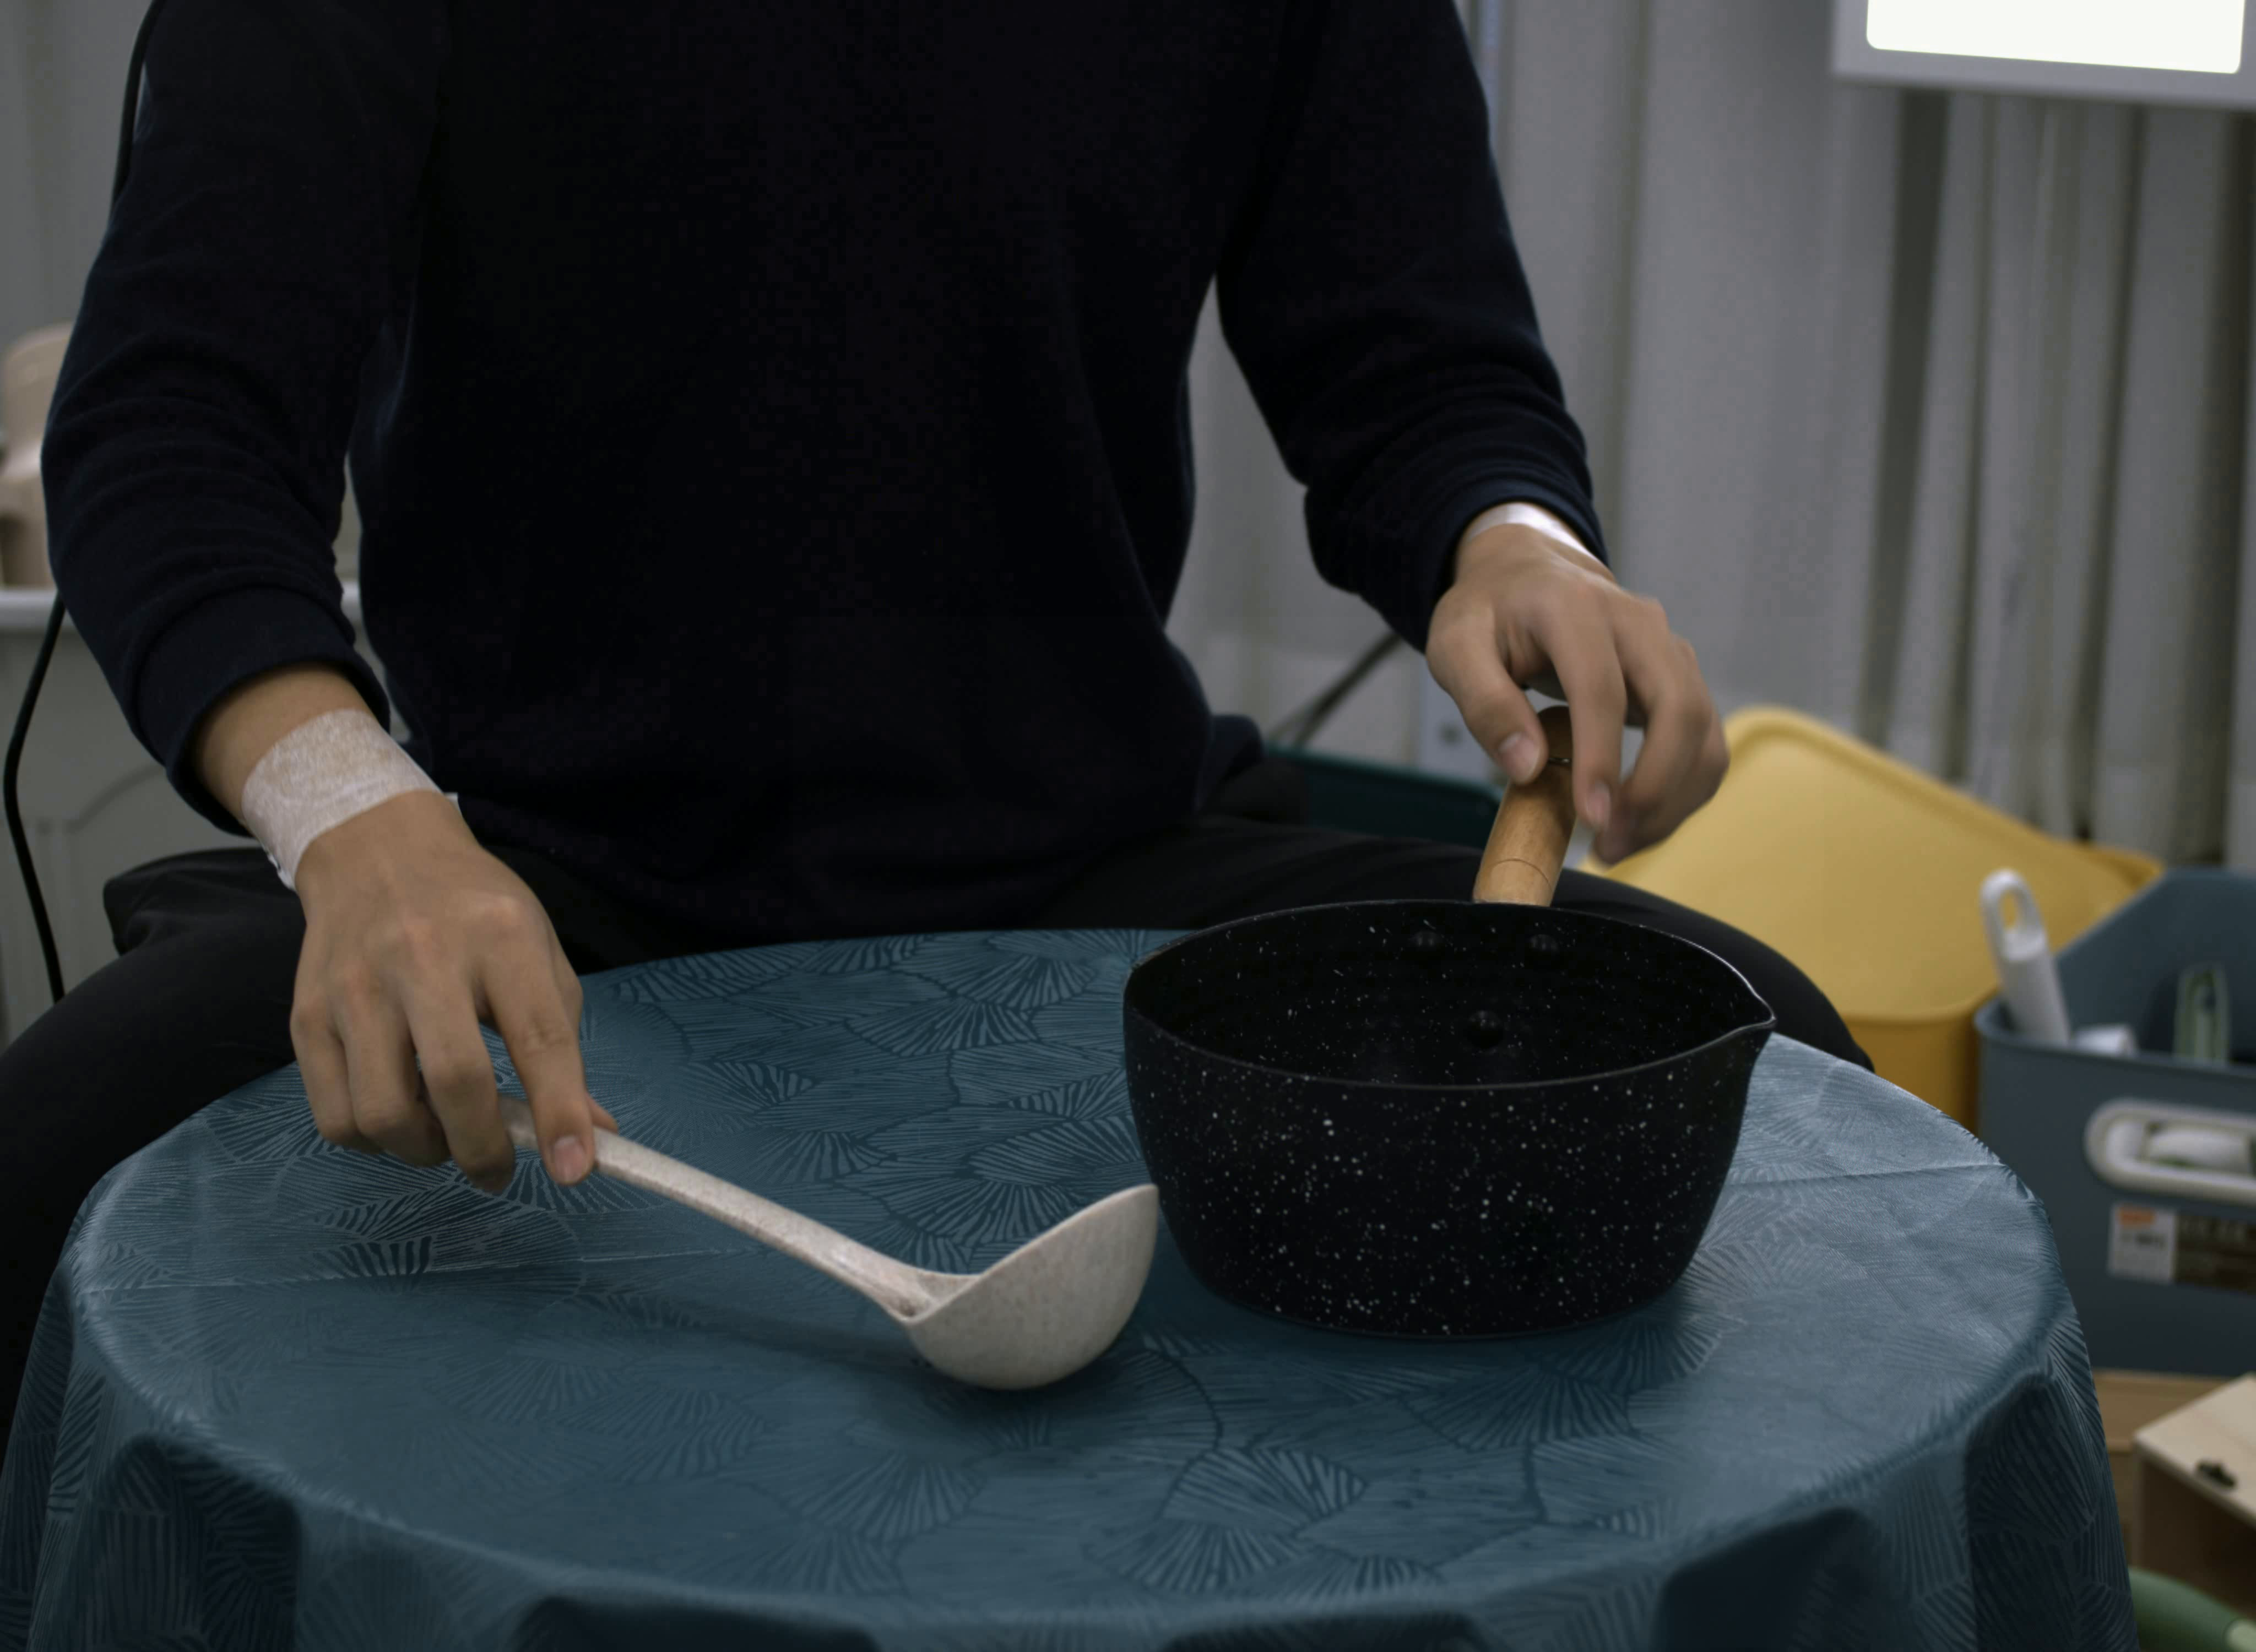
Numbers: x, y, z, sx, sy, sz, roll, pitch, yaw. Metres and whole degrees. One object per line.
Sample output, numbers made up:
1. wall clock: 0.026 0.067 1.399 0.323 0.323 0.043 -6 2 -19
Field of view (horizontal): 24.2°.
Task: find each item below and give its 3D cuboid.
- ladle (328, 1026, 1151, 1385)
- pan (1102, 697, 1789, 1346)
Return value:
1. ladle: -0.118 0.083 1.500 0.271 0.070 0.089 24 25 25
2. pan: 0.107 0.055 1.629 0.206 0.109 0.342 2 17 11
